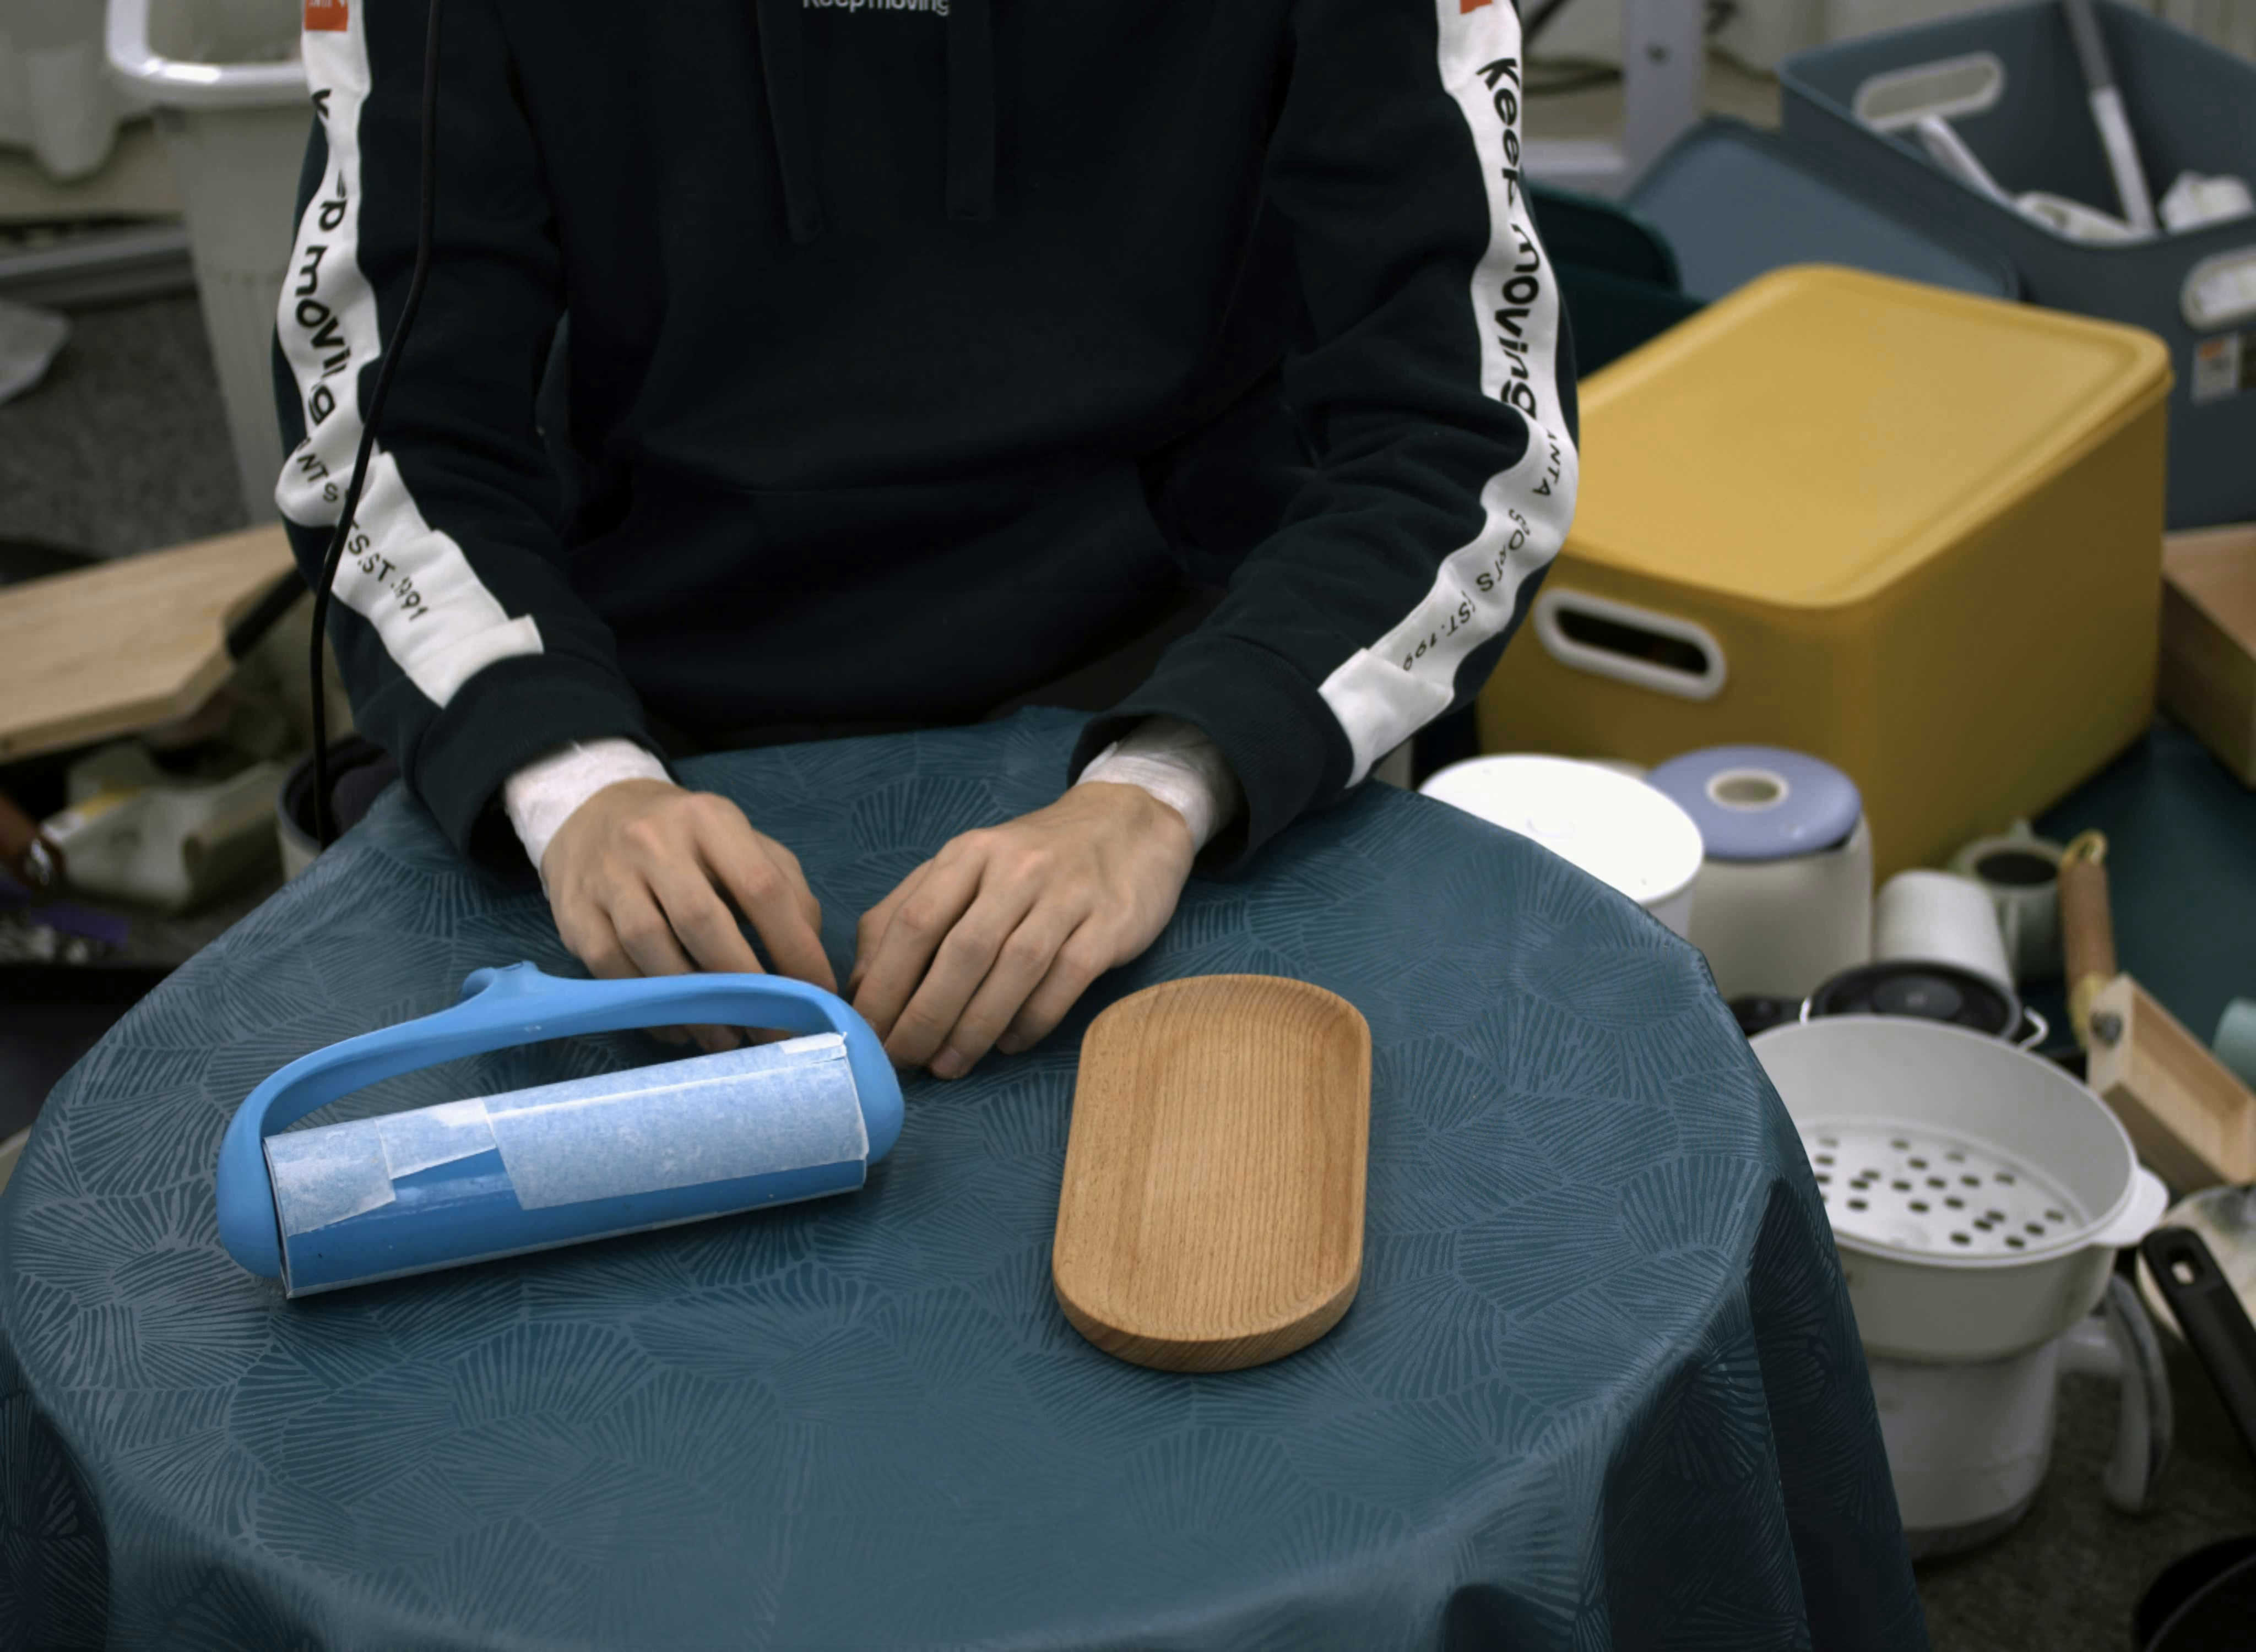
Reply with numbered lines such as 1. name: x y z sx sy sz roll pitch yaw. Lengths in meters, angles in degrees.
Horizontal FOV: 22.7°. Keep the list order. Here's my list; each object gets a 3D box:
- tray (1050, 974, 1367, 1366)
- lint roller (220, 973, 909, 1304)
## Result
1. tray: 0.028 0.111 1.860 0.101 0.020 0.234 0 26 3
2. lint roller: -0.202 0.085 1.889 0.229 0.067 0.182 -13 30 -15
